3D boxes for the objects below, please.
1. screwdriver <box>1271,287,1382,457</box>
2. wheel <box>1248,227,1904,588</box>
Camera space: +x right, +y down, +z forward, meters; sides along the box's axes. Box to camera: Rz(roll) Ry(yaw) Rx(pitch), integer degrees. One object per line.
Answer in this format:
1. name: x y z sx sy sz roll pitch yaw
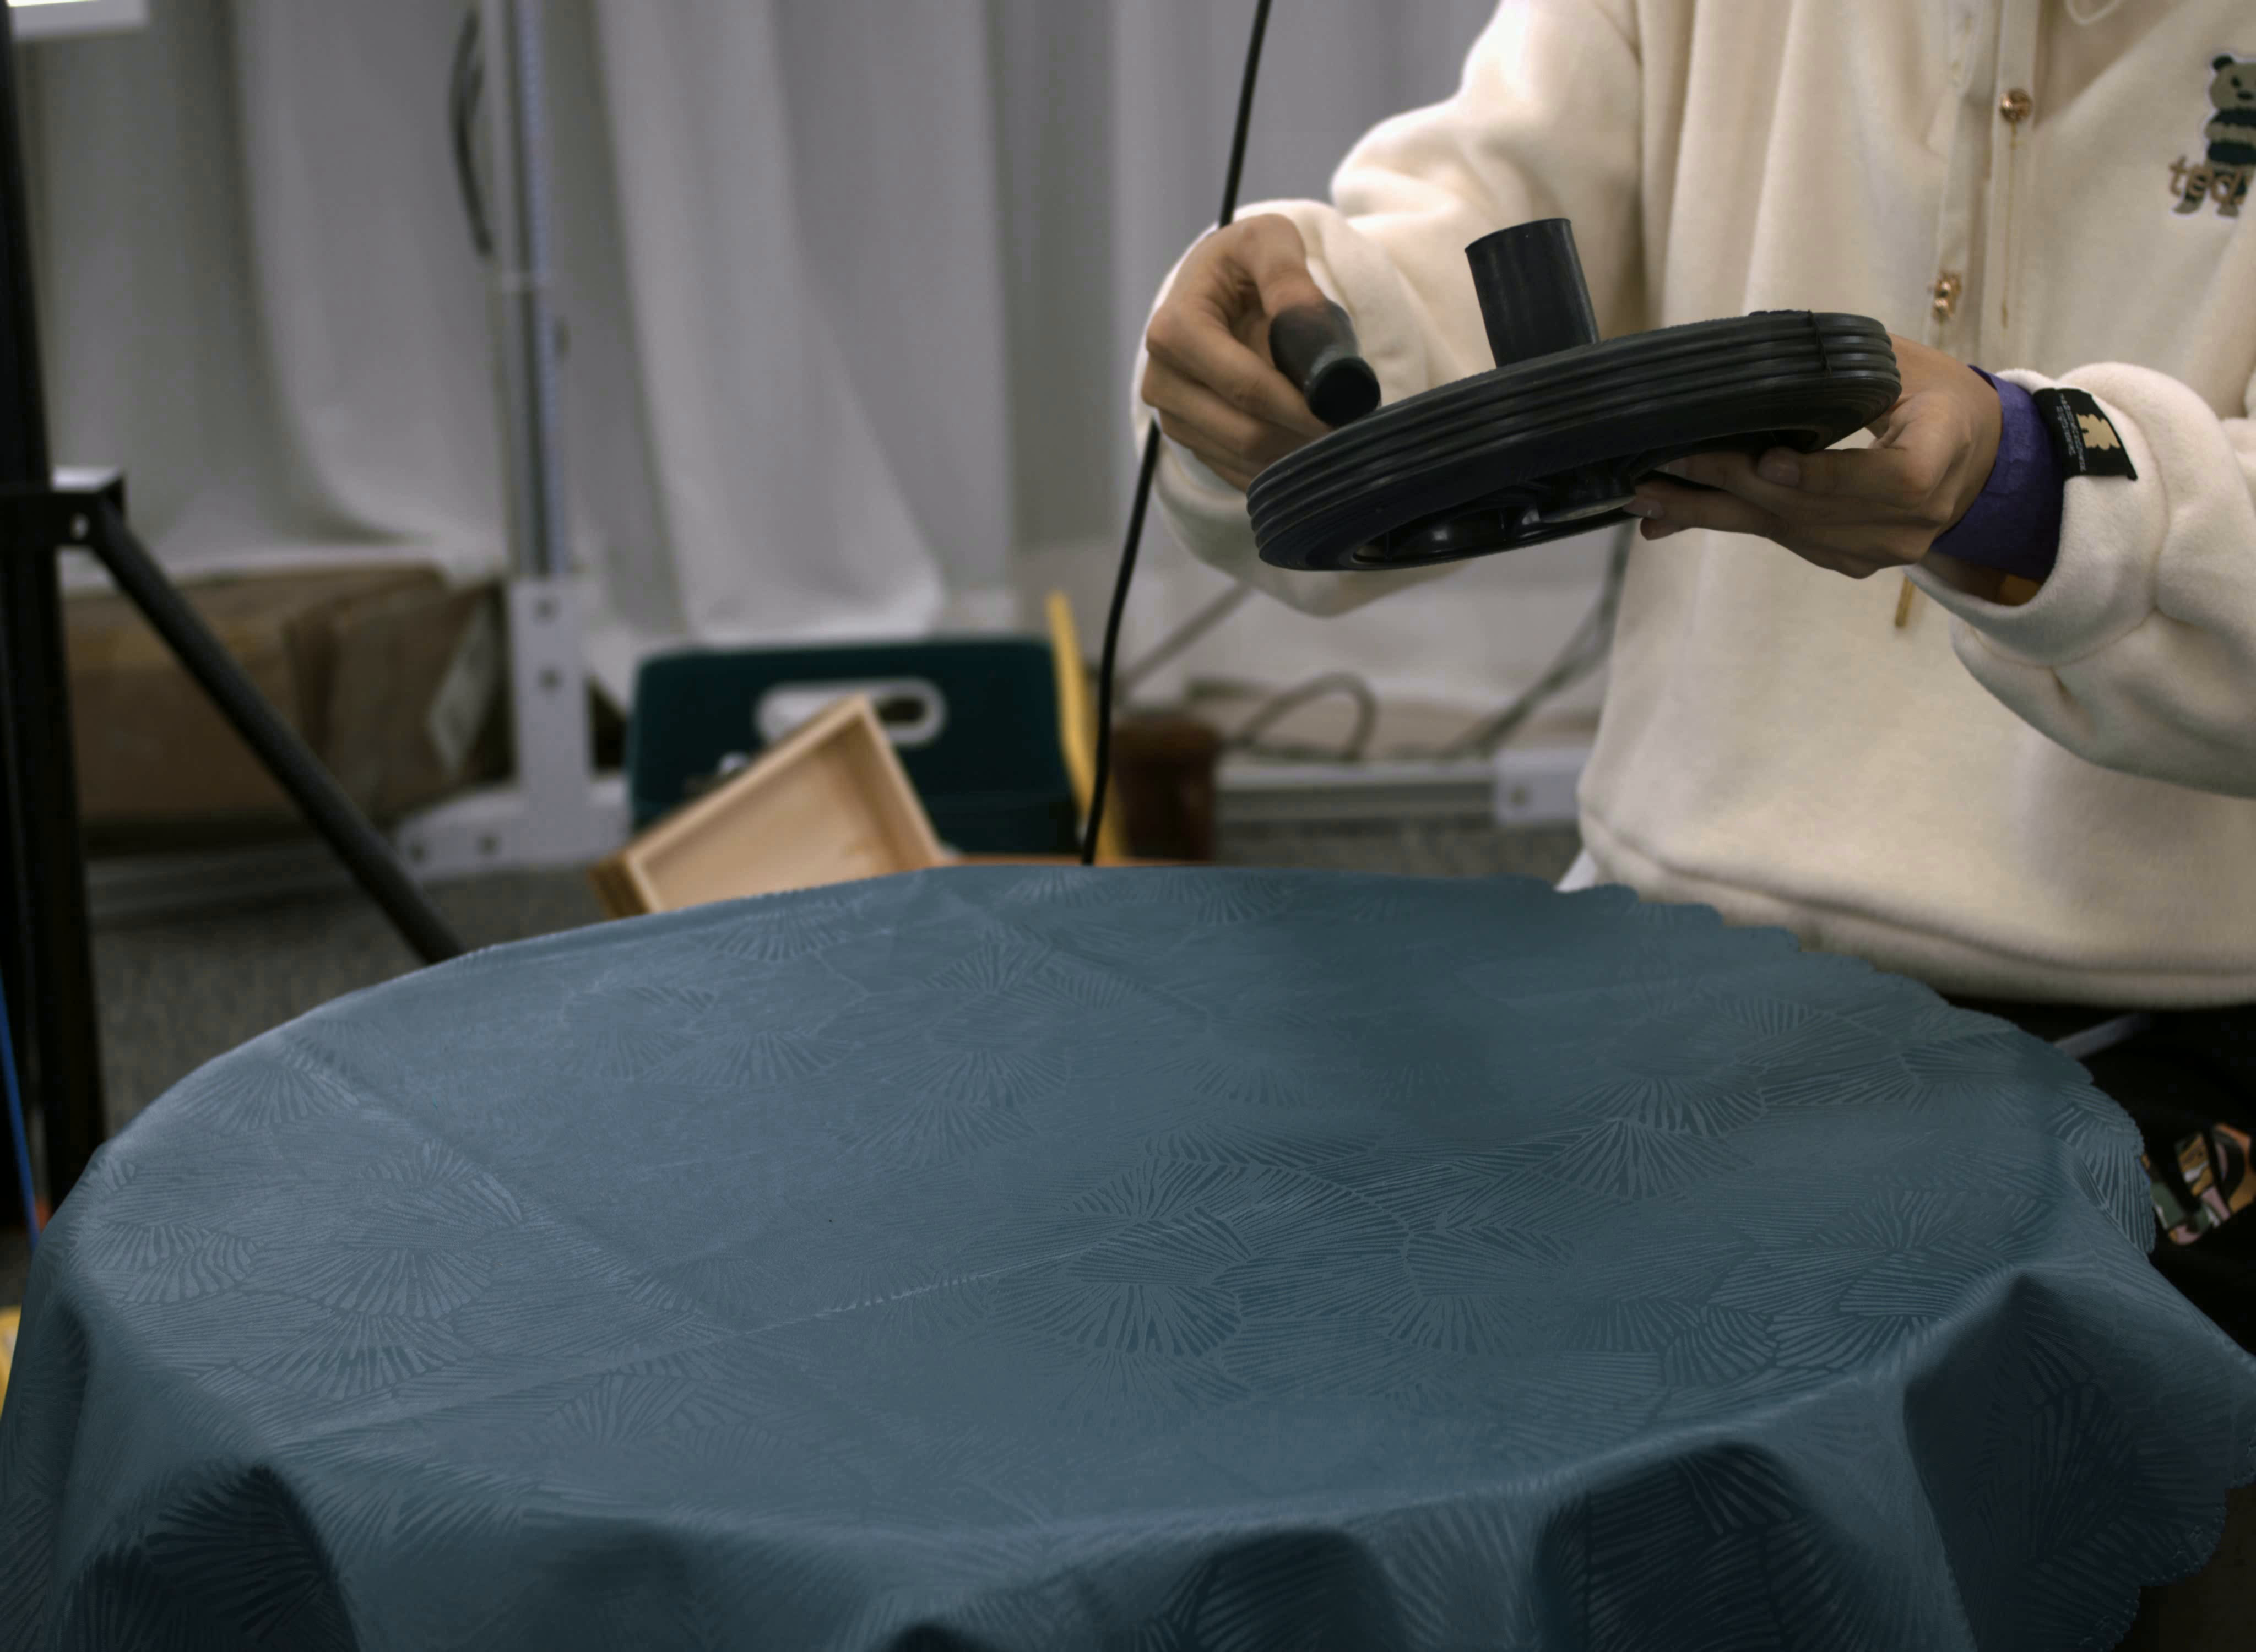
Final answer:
1. screwdriver: 0.066 -0.137 1.663 0.031 0.031 0.197 -3 17 -2
2. wheel: 0.120 -0.125 1.500 0.188 0.080 0.188 -16 -6 -8
